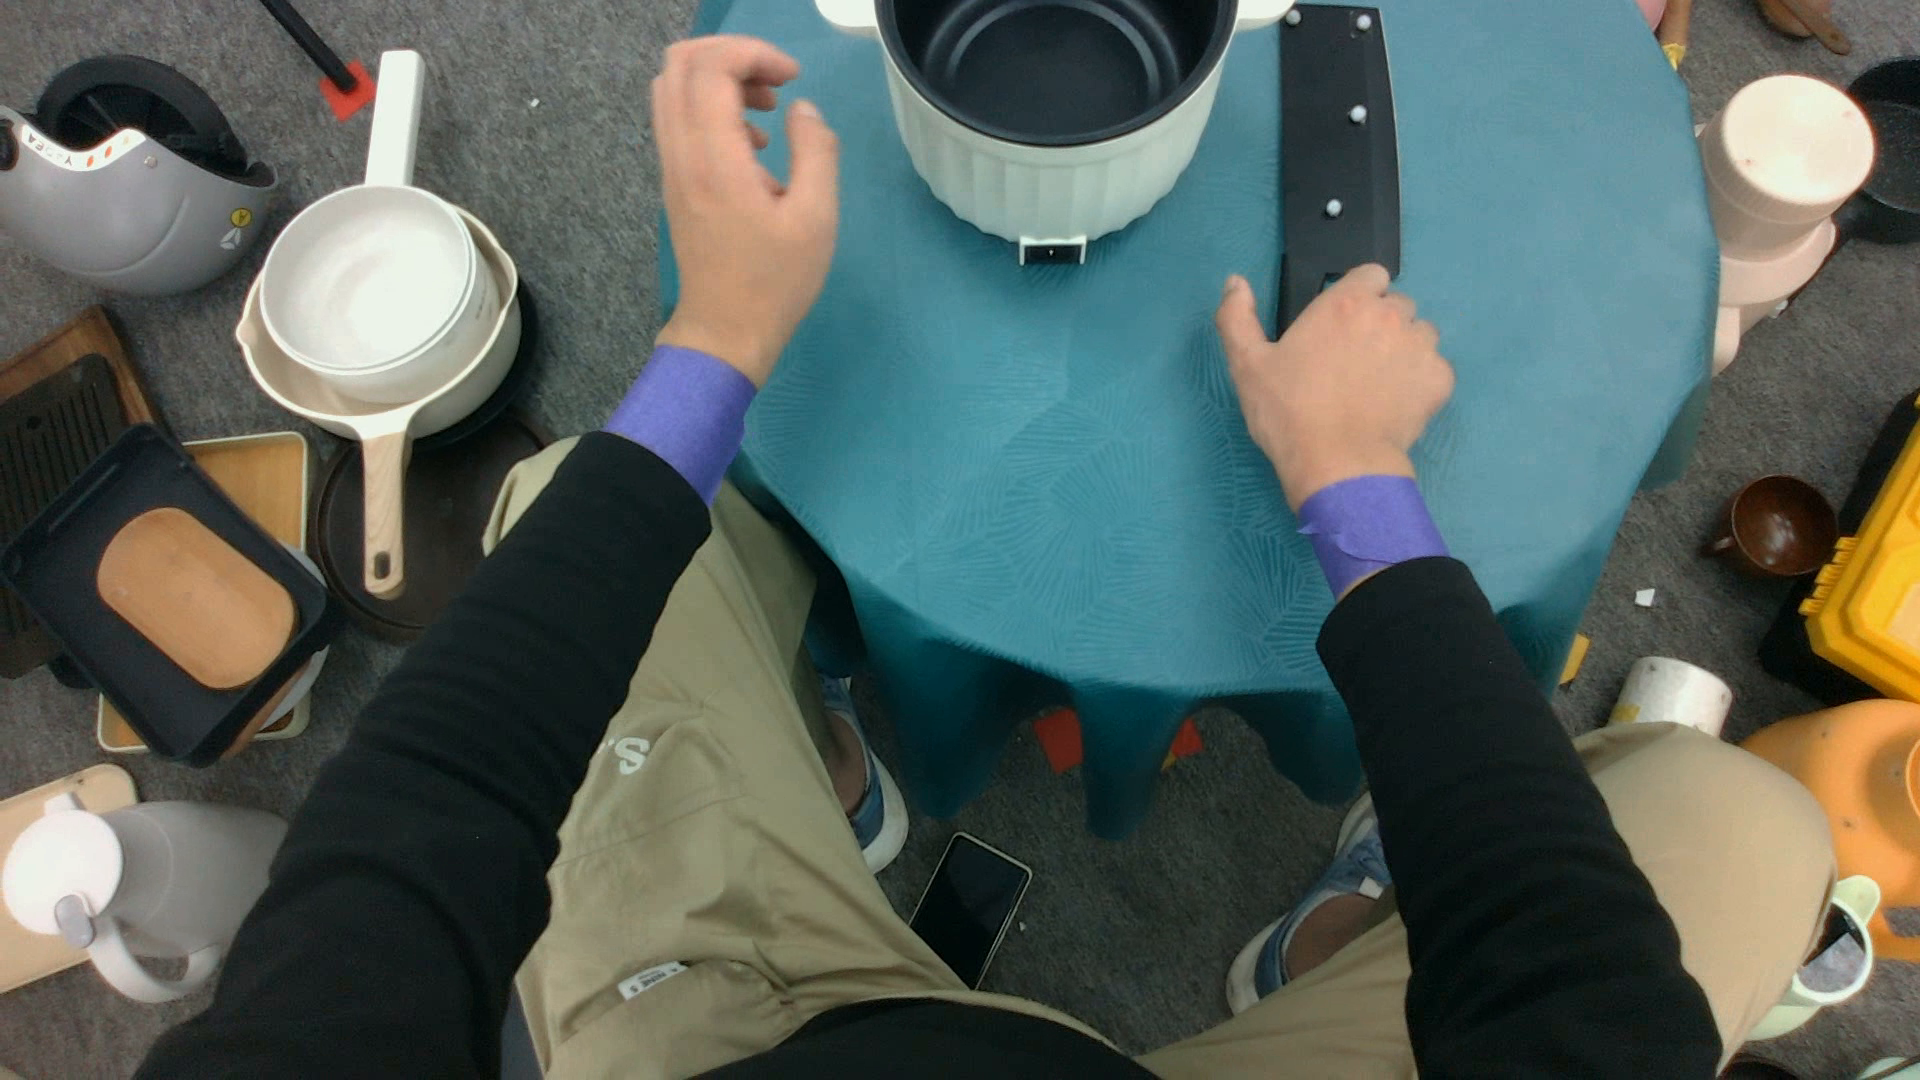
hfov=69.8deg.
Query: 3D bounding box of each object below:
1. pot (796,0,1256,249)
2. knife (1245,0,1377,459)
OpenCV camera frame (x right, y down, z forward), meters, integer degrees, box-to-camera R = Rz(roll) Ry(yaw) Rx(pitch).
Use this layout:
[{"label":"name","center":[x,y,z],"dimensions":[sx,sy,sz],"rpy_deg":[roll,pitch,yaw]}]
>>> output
[{"label":"pot","center":[0.036,-0.271,0.750],"dimensions":[0.240,0.142,0.191],"rpy_deg":[-1,78,0]},{"label":"knife","center":[0.199,-0.189,0.788],"dimensions":[0.081,0.021,0.303],"rpy_deg":[7,72,2]}]
